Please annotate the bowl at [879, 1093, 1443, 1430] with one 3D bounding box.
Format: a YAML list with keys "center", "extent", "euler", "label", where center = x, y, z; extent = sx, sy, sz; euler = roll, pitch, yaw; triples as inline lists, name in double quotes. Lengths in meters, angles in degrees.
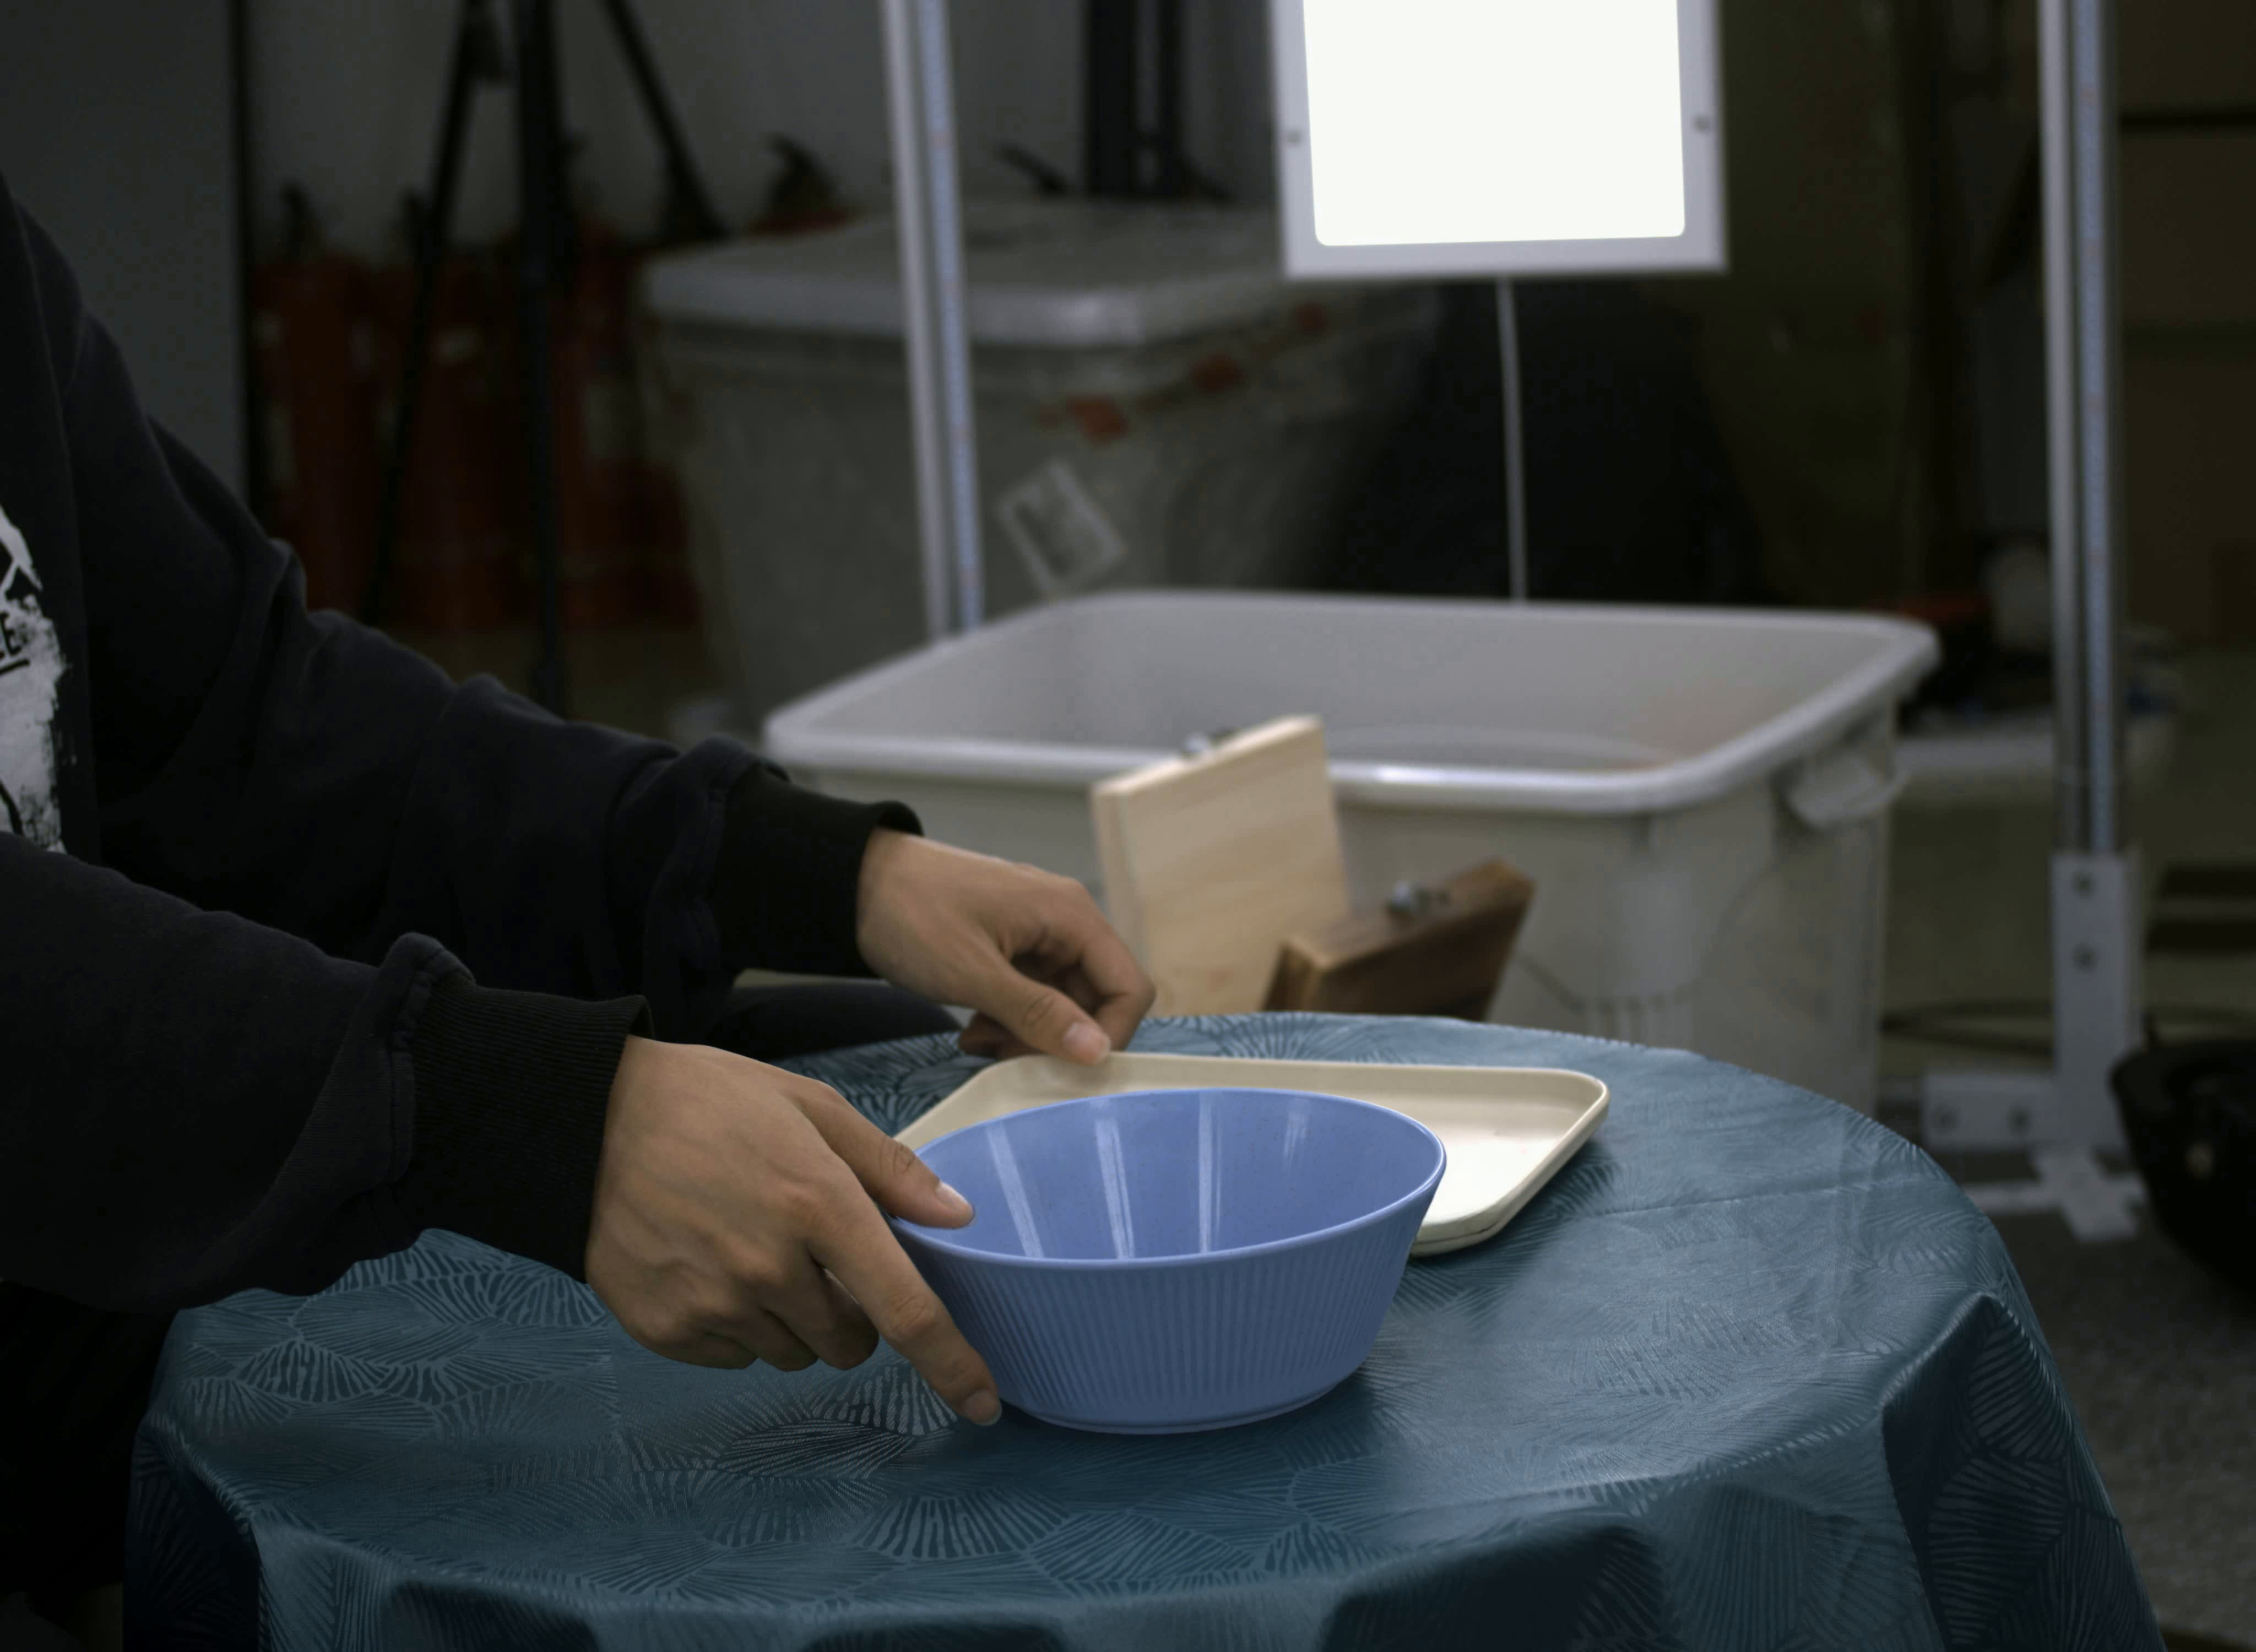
- center: [0.013, 0.137, 1.701]
  extent: [0.175, 0.070, 0.176]
  euler: [-5, 13, 0]
  label: "bowl"

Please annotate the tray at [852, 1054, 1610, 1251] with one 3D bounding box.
- center: [0.037, 0.113, 1.903]
  extent: [0.243, 0.017, 0.168]
  euler: [1, 14, 24]
  label: "tray"
